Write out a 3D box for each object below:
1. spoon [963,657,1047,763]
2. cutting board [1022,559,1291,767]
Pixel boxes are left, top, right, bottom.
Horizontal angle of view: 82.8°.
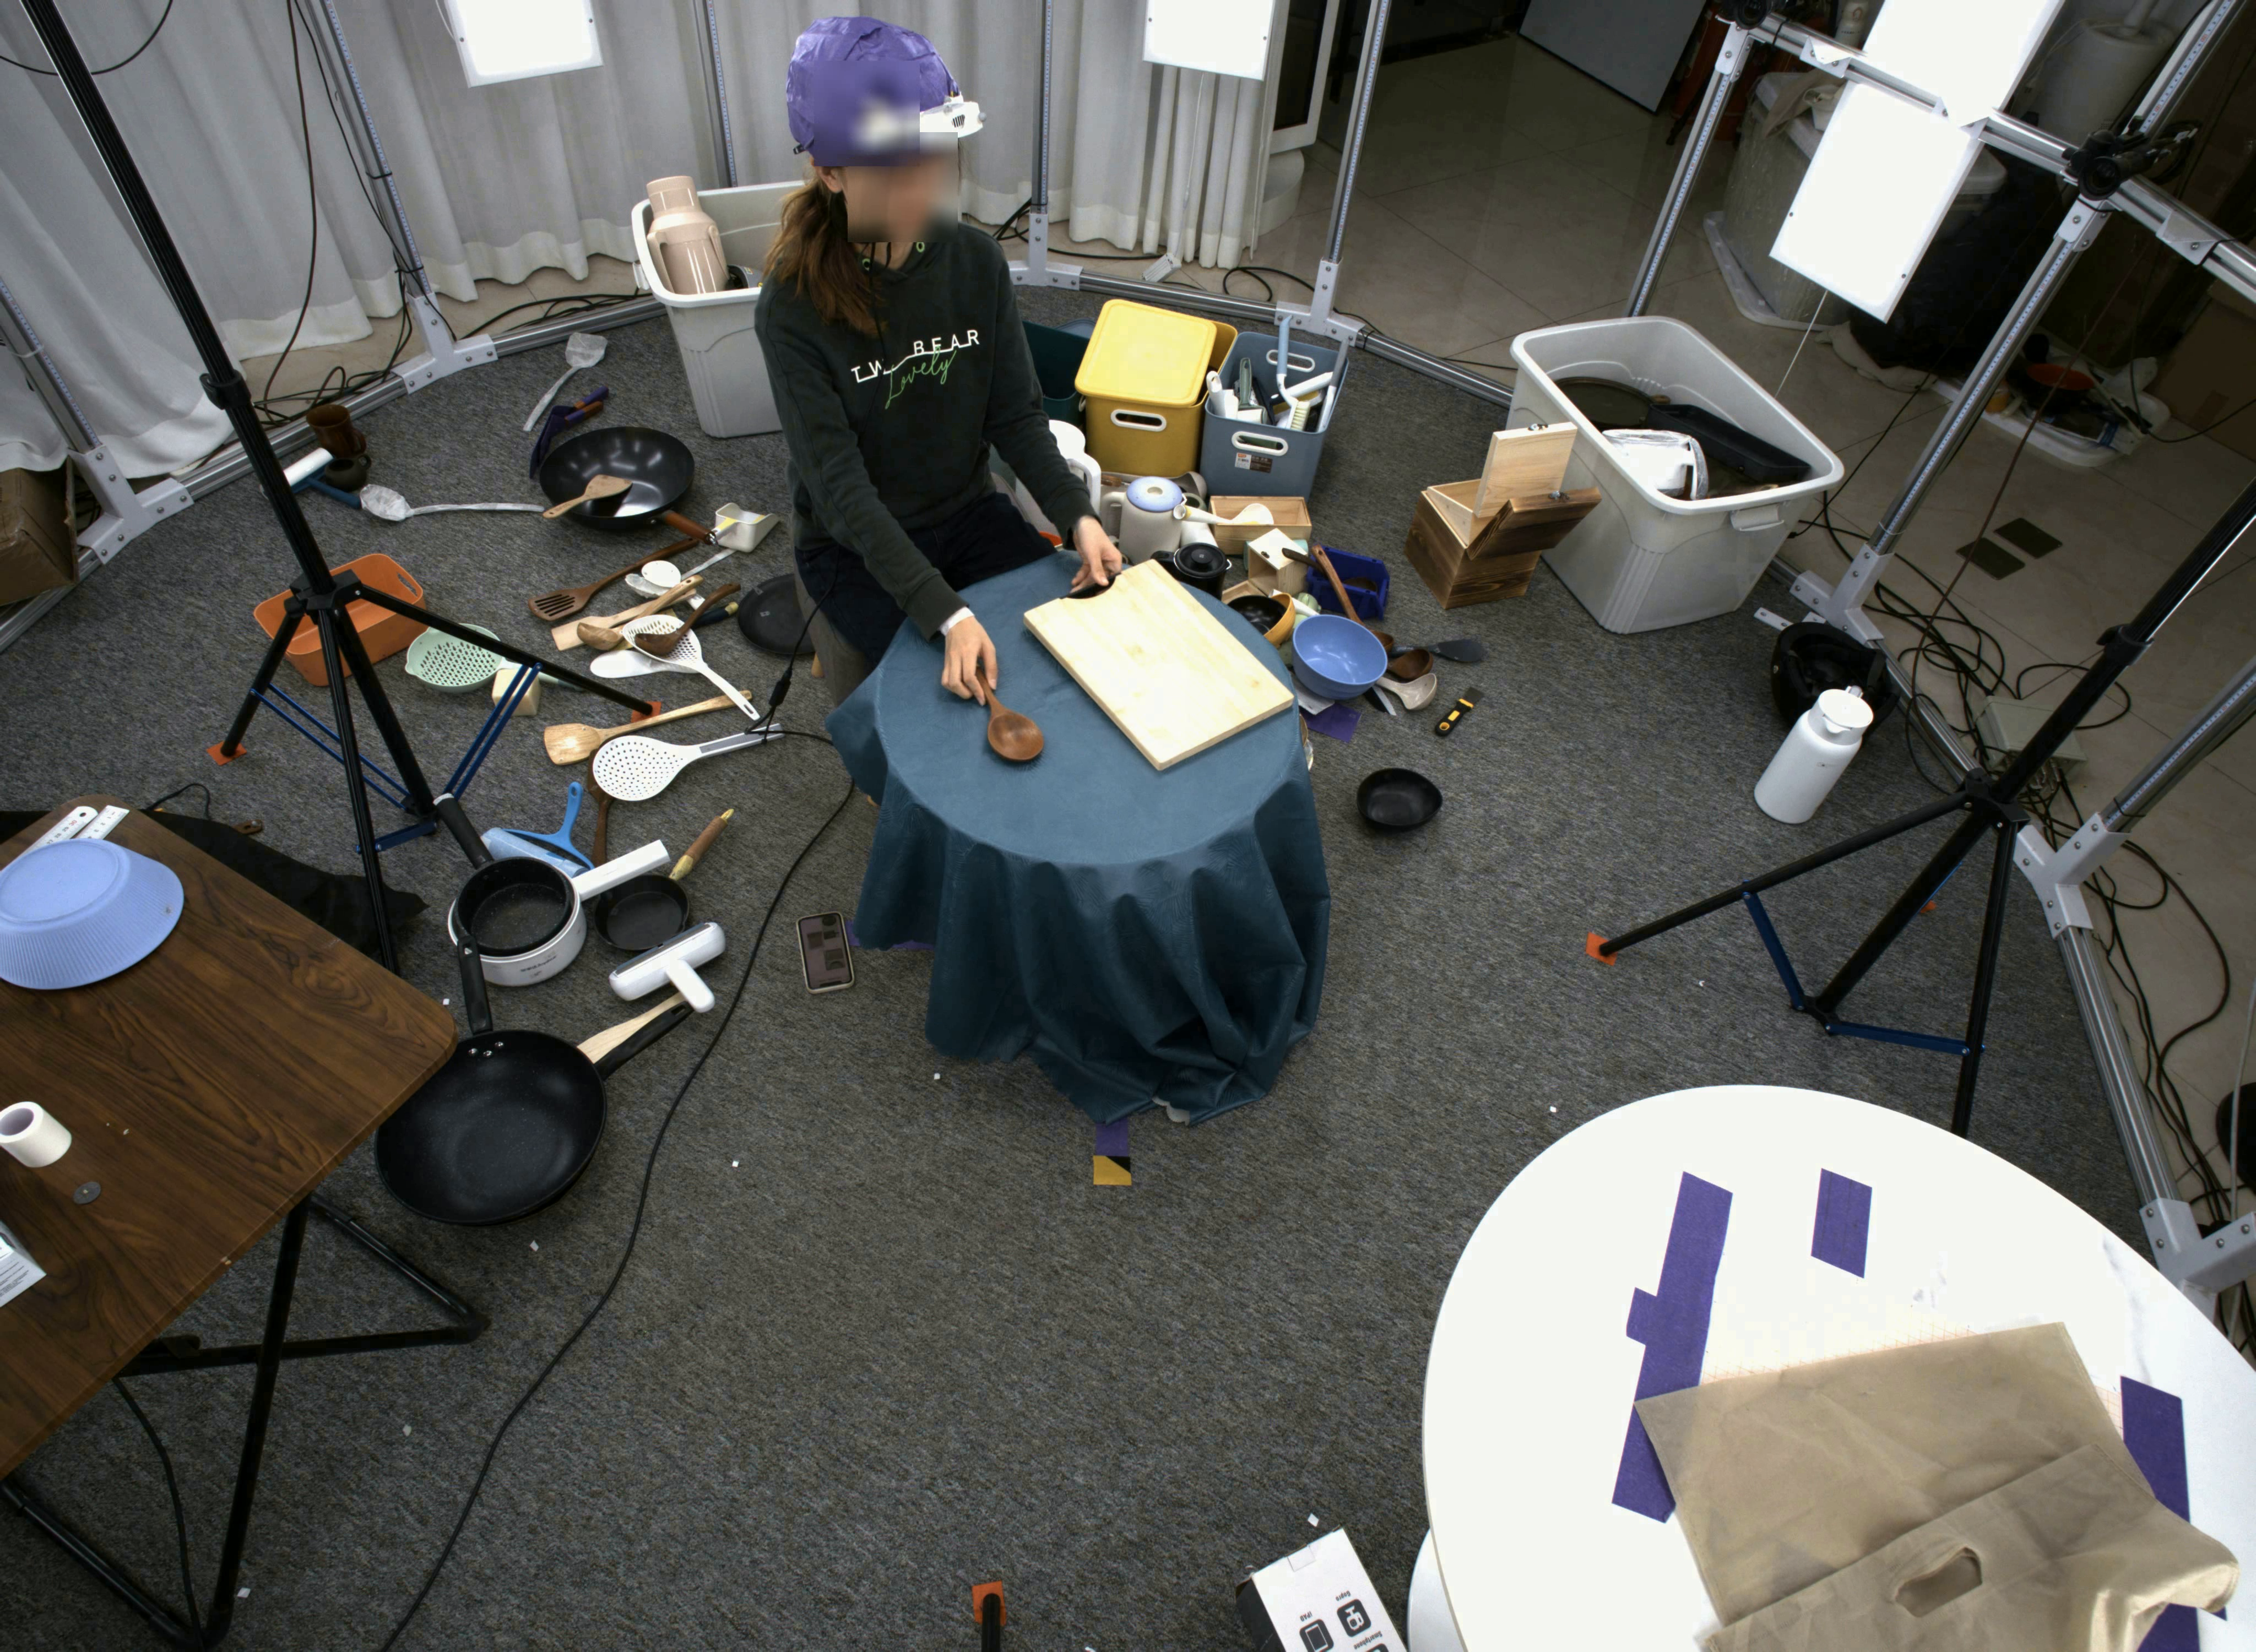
[{"bbox_3d":[-0.180,-0.164,1.800,0.075,0.017,0.220,-20,55,-19],"label":"spoon"},{"bbox_3d":[0.038,-0.247,1.883,0.252,0.023,0.355,-27,58,-25],"label":"cutting board"}]
